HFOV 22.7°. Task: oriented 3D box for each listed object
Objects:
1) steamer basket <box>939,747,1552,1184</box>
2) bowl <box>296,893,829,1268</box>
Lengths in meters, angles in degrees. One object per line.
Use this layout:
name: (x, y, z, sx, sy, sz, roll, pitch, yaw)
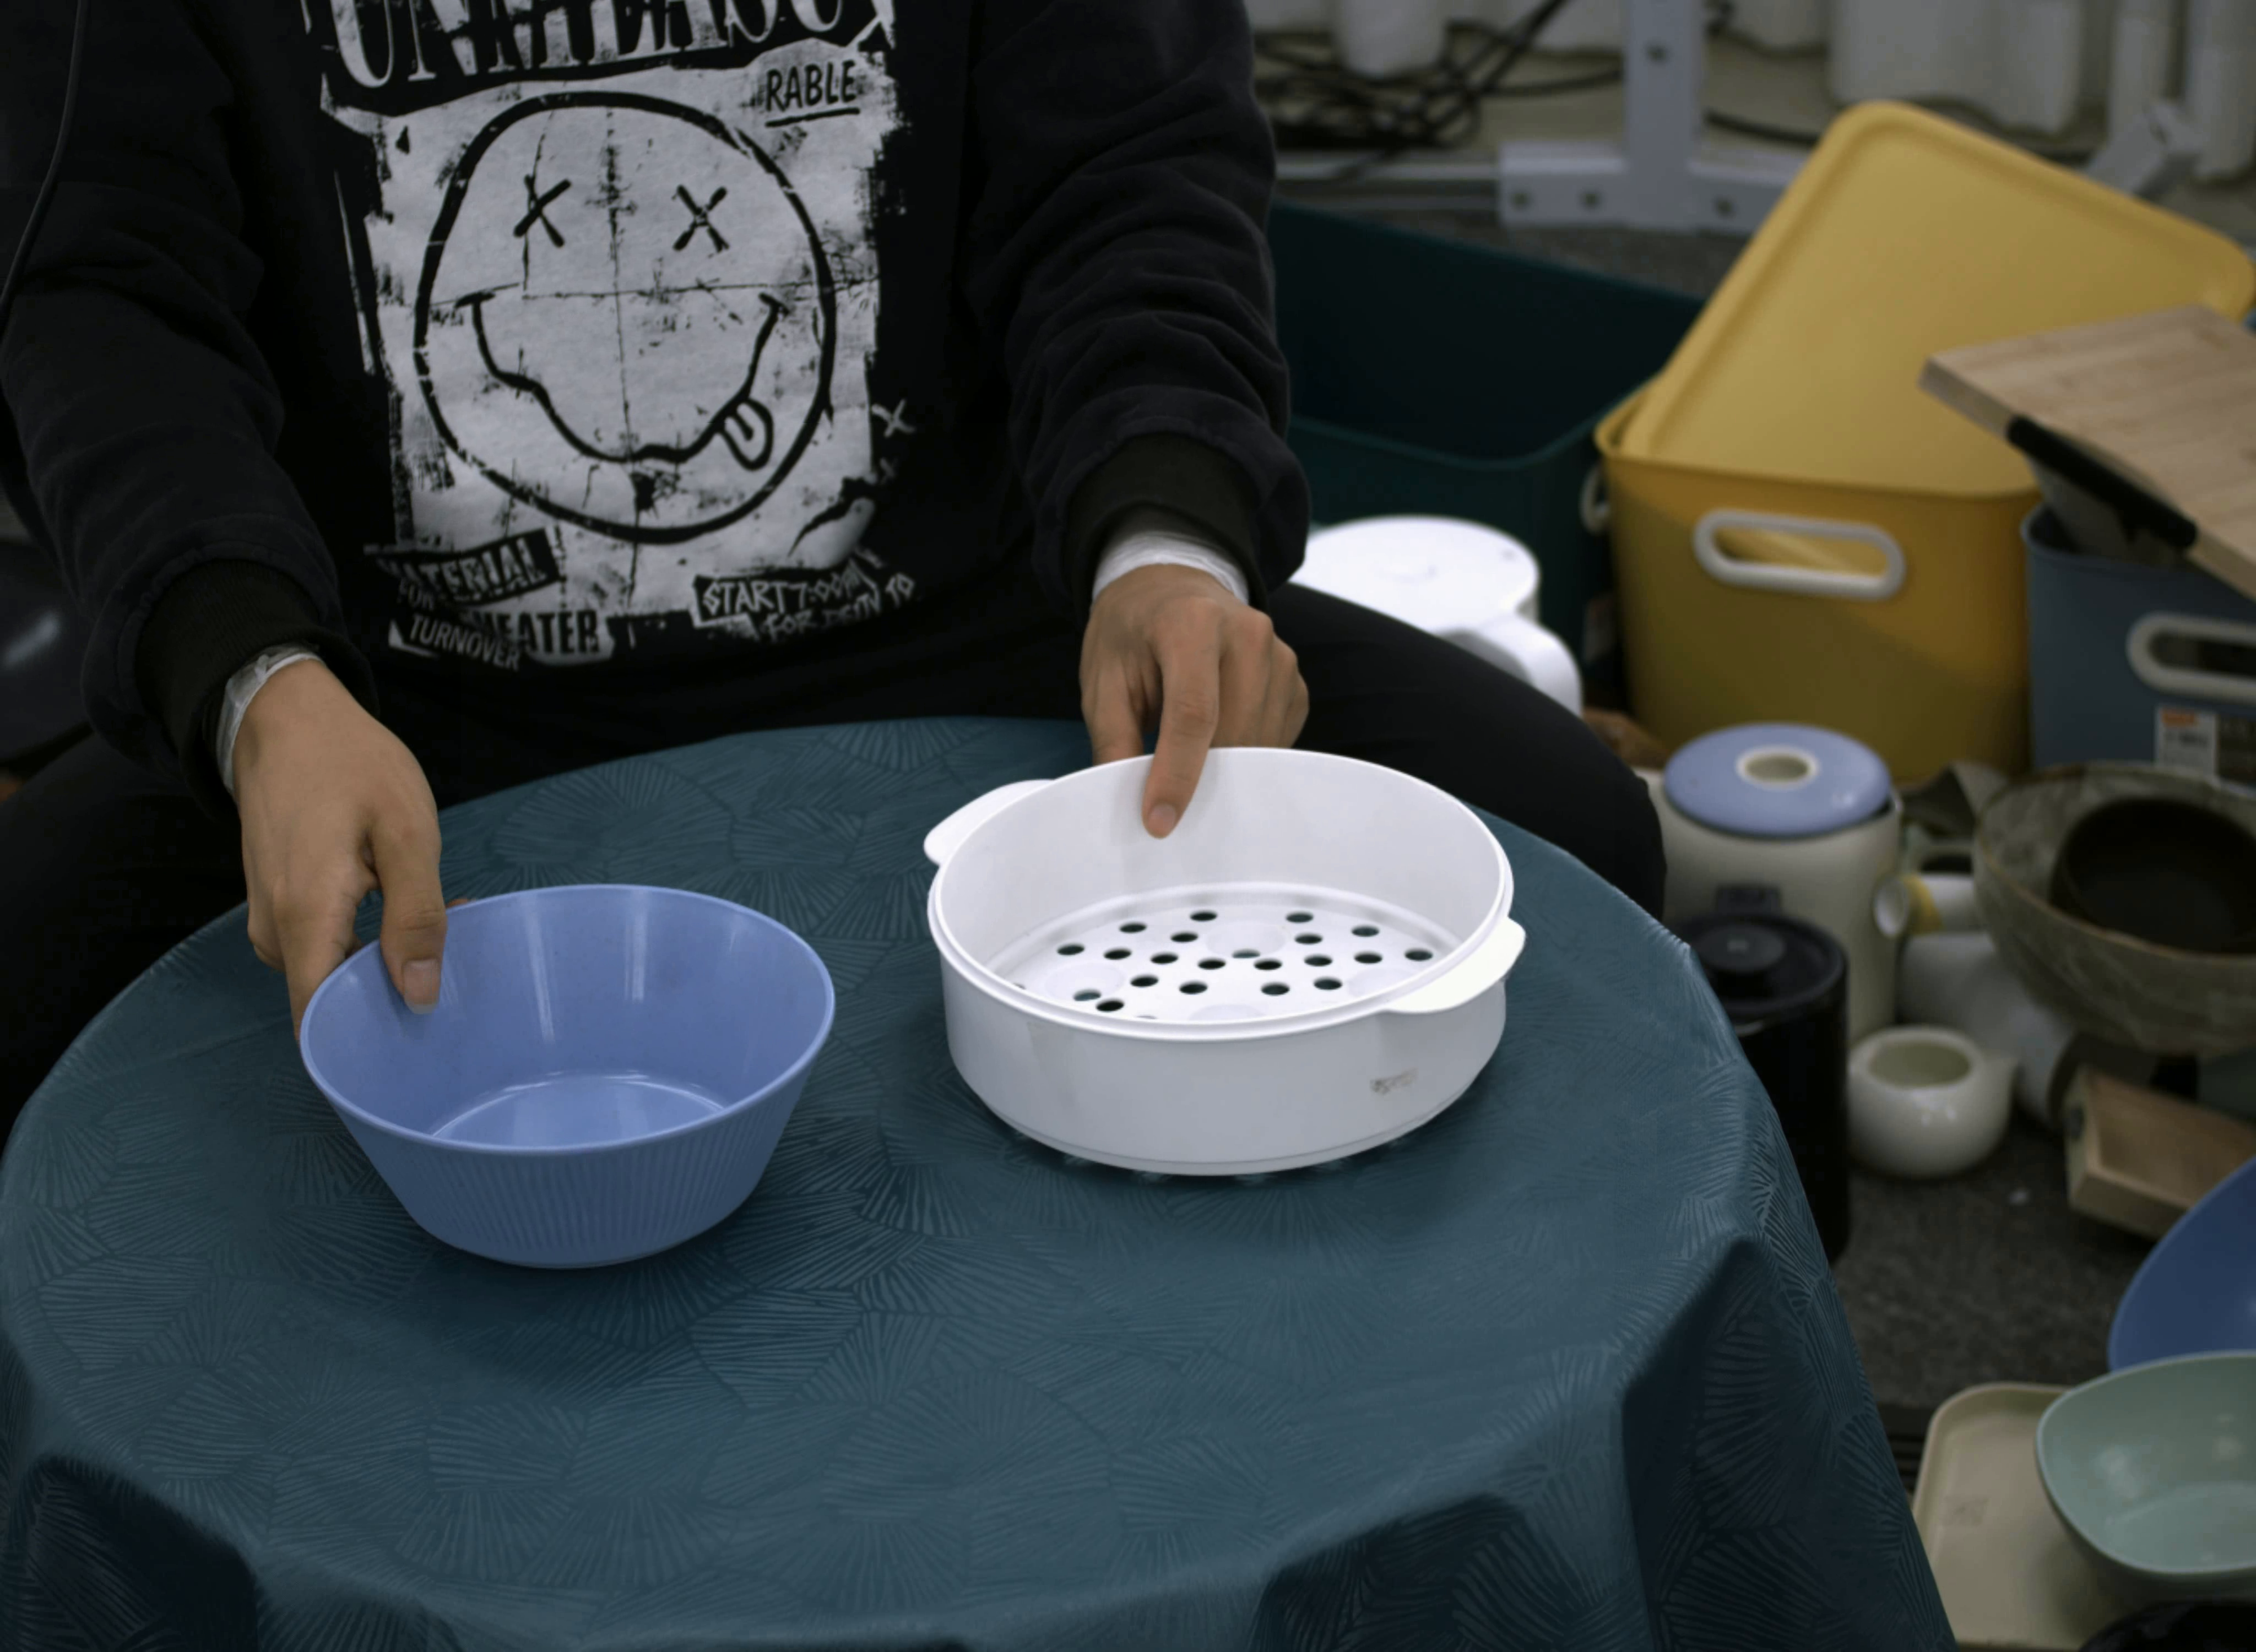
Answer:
steamer basket: (0.038, 0.048, 1.925, 0.230, 0.068, 0.205, 19, 34, 32)
bowl: (-0.185, 0.090, 1.863, 0.175, 0.069, 0.179, -1, 27, 1)
